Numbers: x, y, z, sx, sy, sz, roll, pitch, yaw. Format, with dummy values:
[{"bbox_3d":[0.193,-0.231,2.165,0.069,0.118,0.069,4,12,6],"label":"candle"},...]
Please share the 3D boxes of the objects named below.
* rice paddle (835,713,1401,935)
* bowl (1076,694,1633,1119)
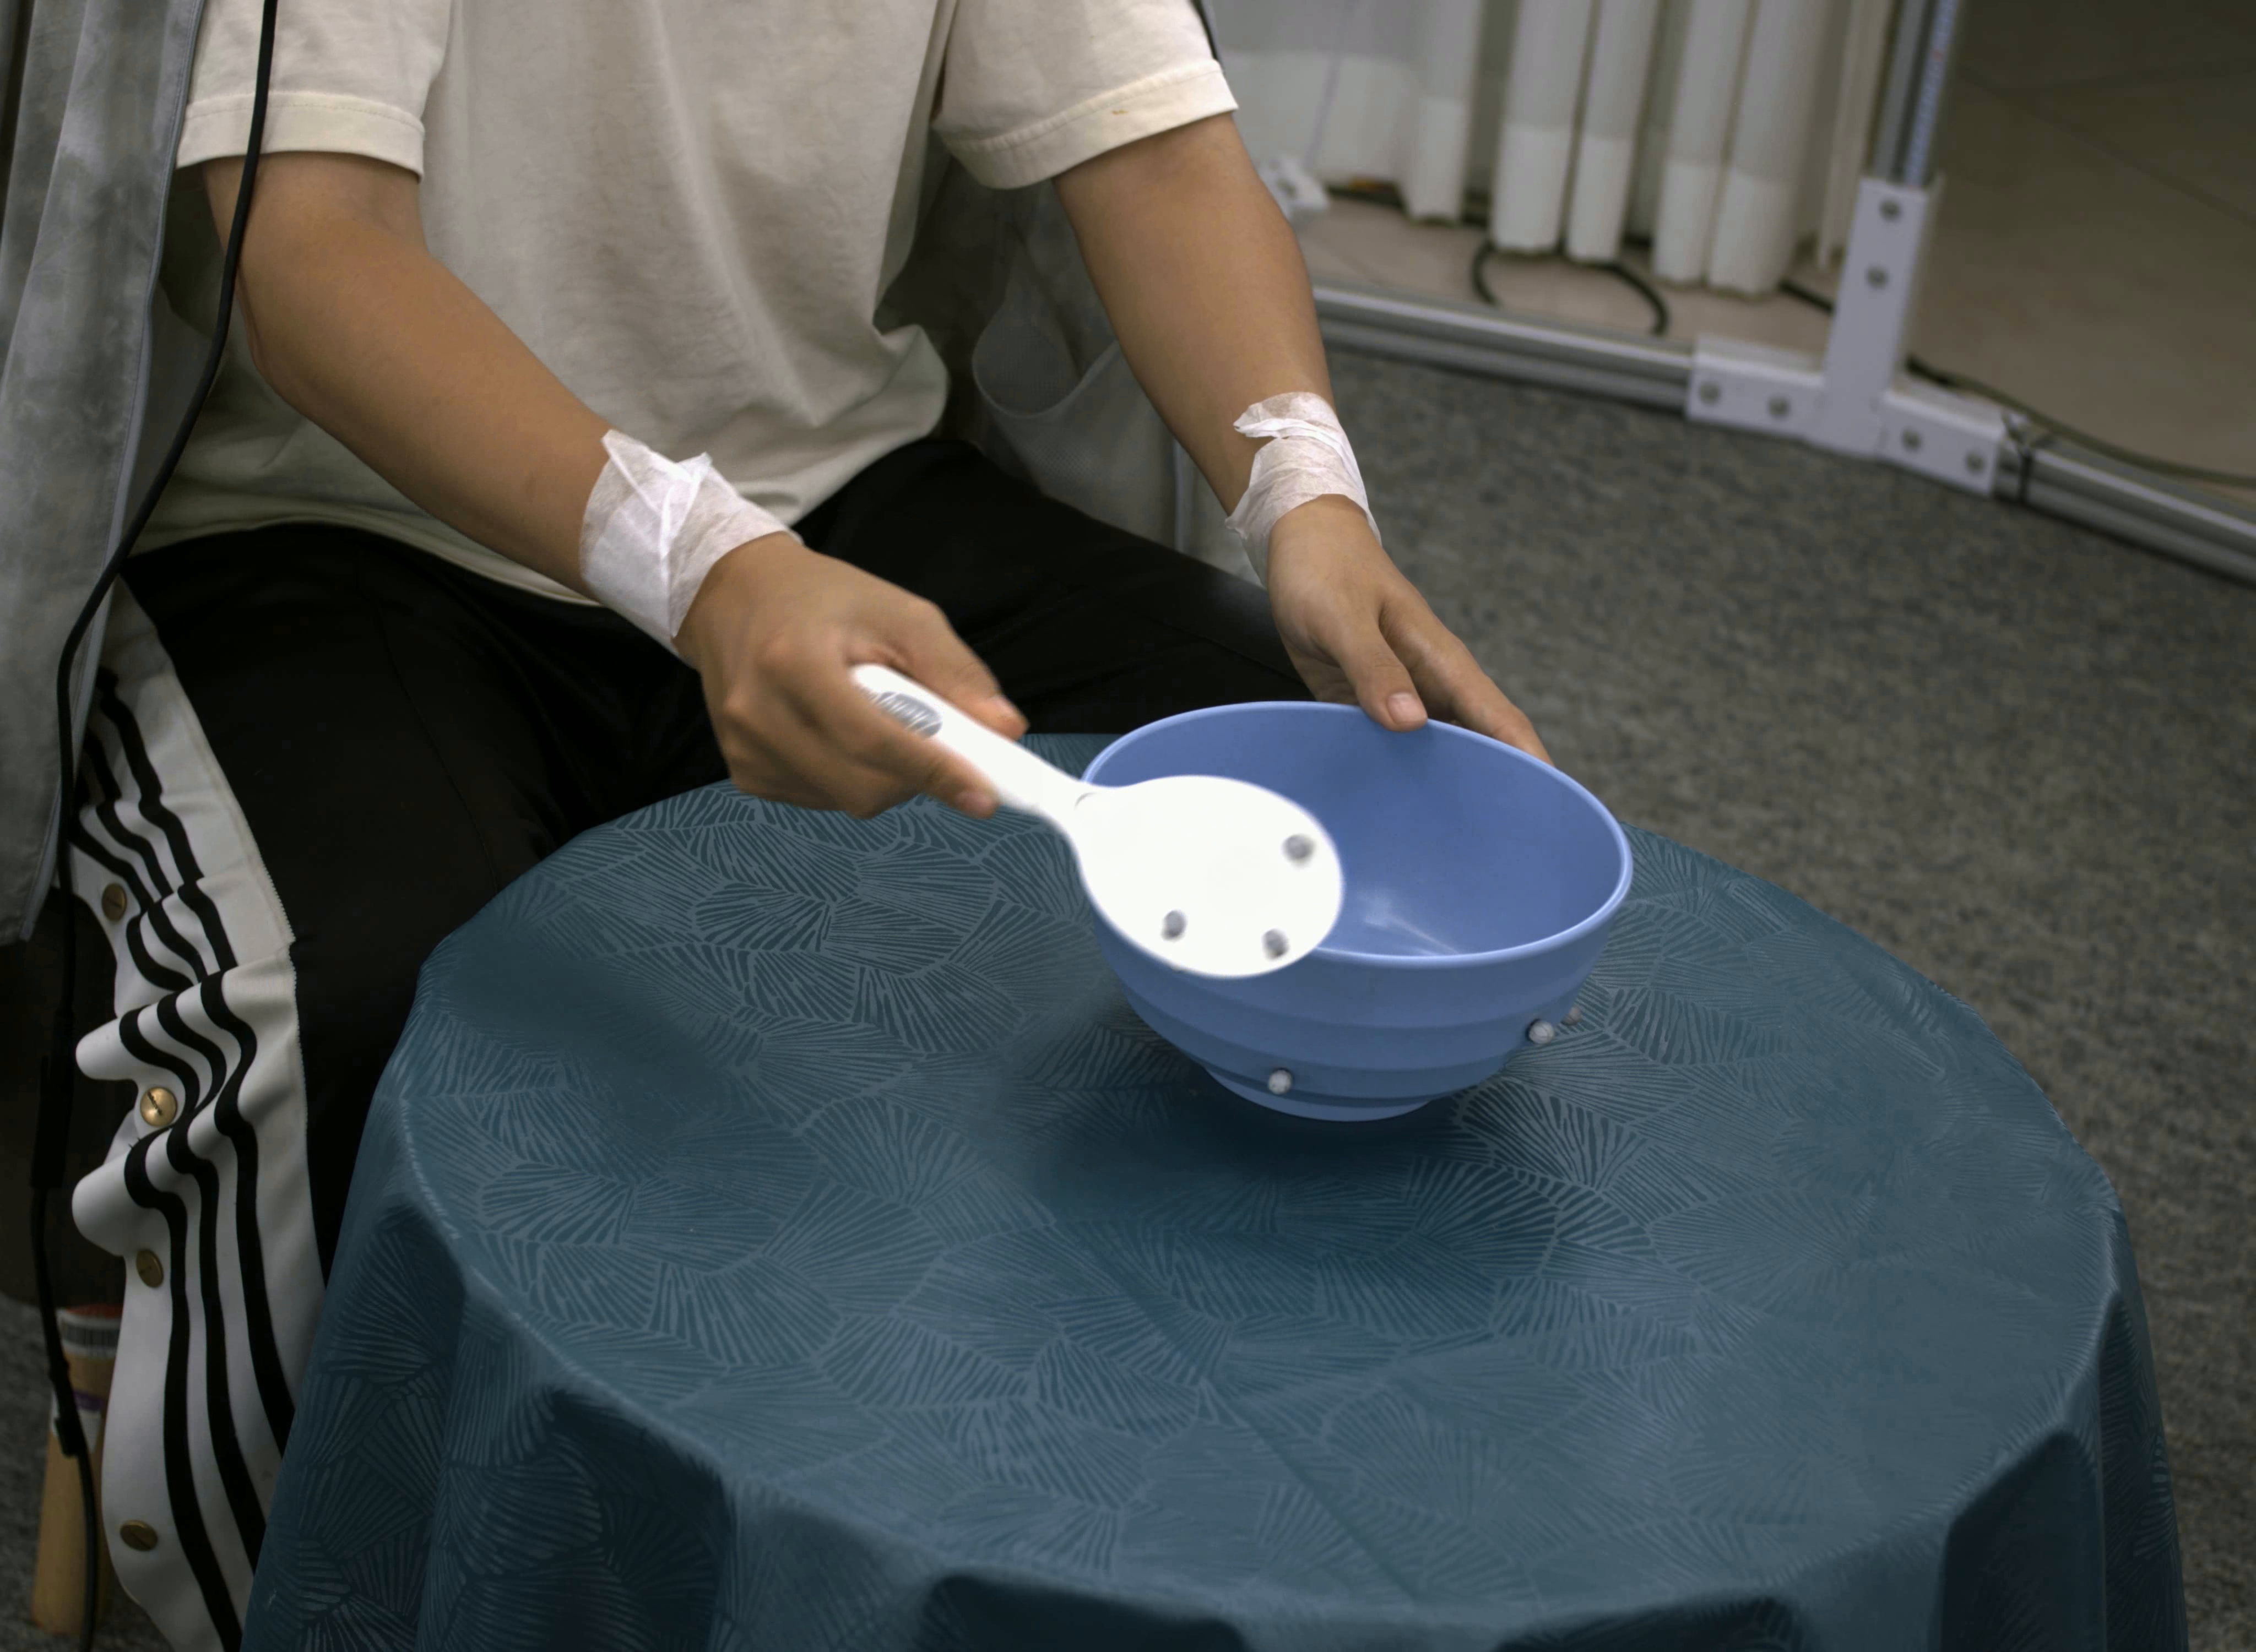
[{"bbox_3d":[-0.003,-0.004,1.783,0.206,0.029,0.069,13,51,25],"label":"rice paddle"},{"bbox_3d":[0.074,0.040,1.880,0.196,0.095,0.198,5,29,-3],"label":"bowl"}]
